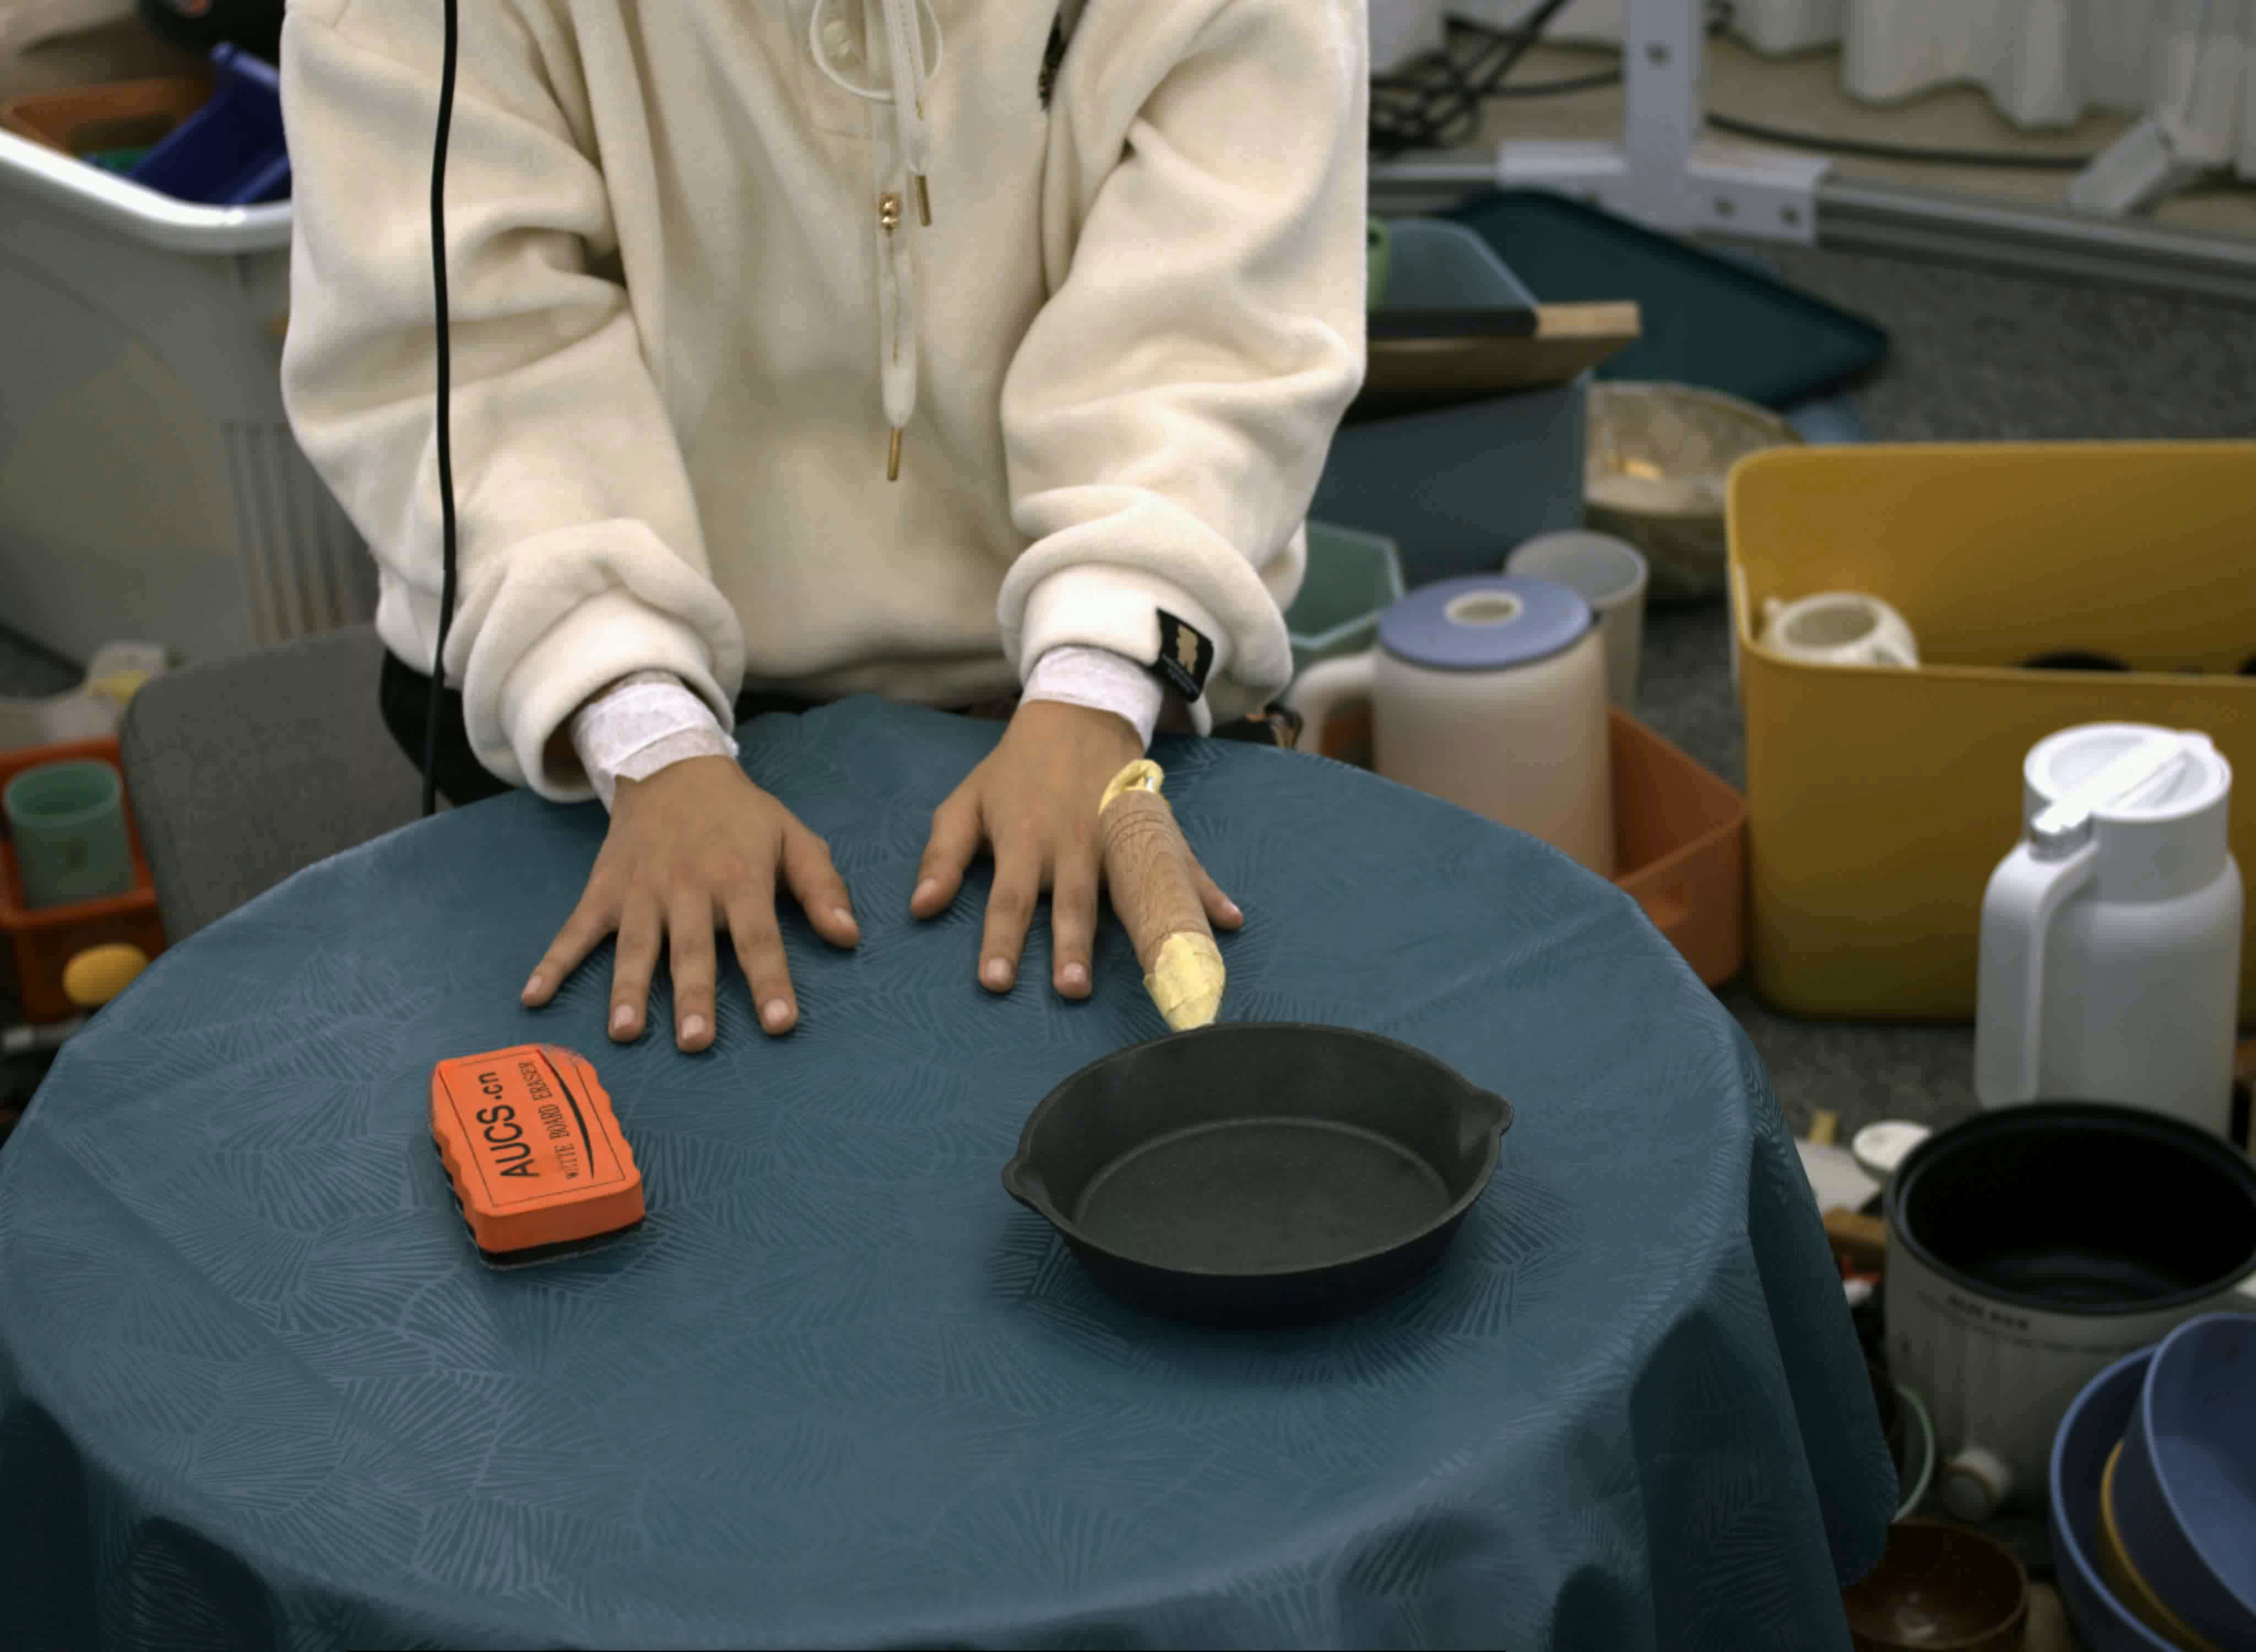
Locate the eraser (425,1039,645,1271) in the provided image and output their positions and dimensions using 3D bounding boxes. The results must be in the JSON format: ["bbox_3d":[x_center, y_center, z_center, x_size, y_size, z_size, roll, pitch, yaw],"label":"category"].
[{"bbox_3d":[-0.199,0.110,1.879,0.059,0.022,0.109,-10,28,-13],"label":"eraser"}]

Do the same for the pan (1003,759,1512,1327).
[{"bbox_3d":[0.029,0.070,1.903,0.168,0.049,0.328,-7,29,-7],"label":"pan"}]
